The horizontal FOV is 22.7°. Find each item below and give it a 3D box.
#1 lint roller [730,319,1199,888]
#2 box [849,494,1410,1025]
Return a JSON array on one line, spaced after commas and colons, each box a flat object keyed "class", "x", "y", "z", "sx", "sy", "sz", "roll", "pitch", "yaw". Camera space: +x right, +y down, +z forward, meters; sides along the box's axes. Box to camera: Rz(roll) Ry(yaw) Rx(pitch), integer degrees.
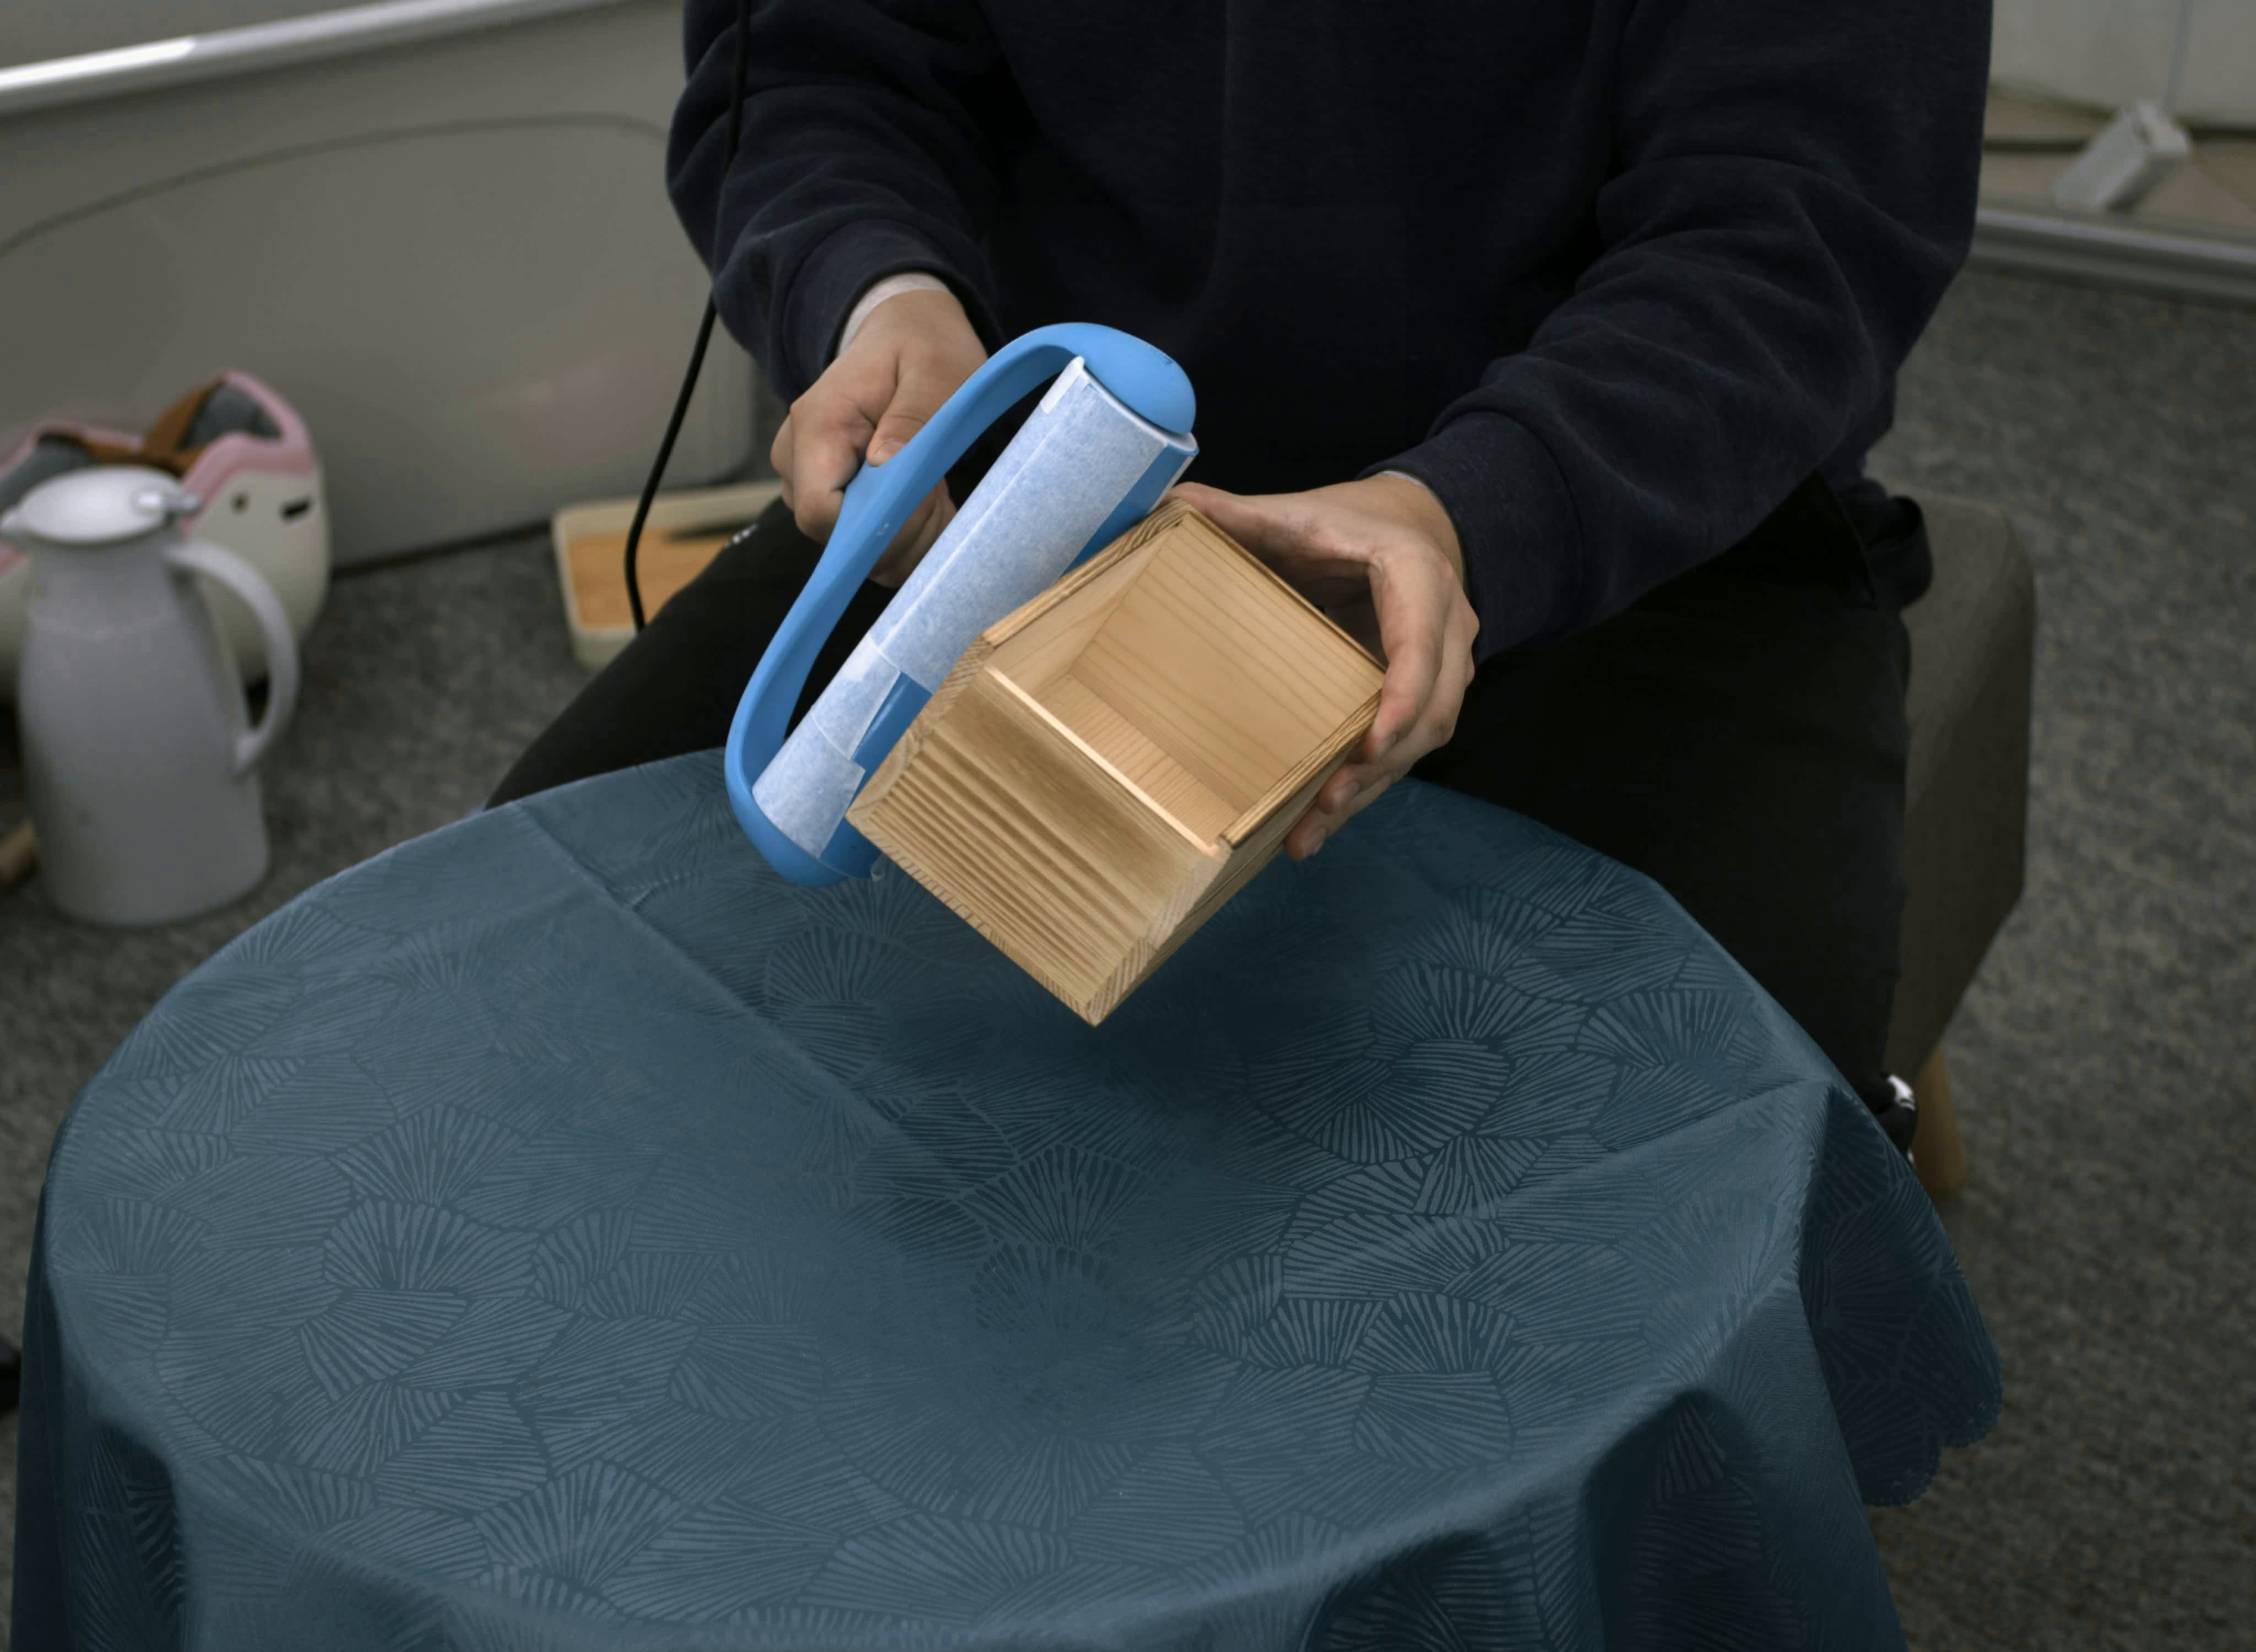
[{"class": "lint roller", "x": -0.071, "y": -0.100, "z": 1.991, "sx": 0.067, "sy": 0.227, "sz": 0.182, "roll": 28, "pitch": 14, "yaw": -30}, {"class": "box", "x": 0.004, "y": -0.026, "z": 1.862, "sx": 0.107, "sy": 0.079, "sz": 0.214, "roll": 40, "pitch": 23, "yaw": 4}]
